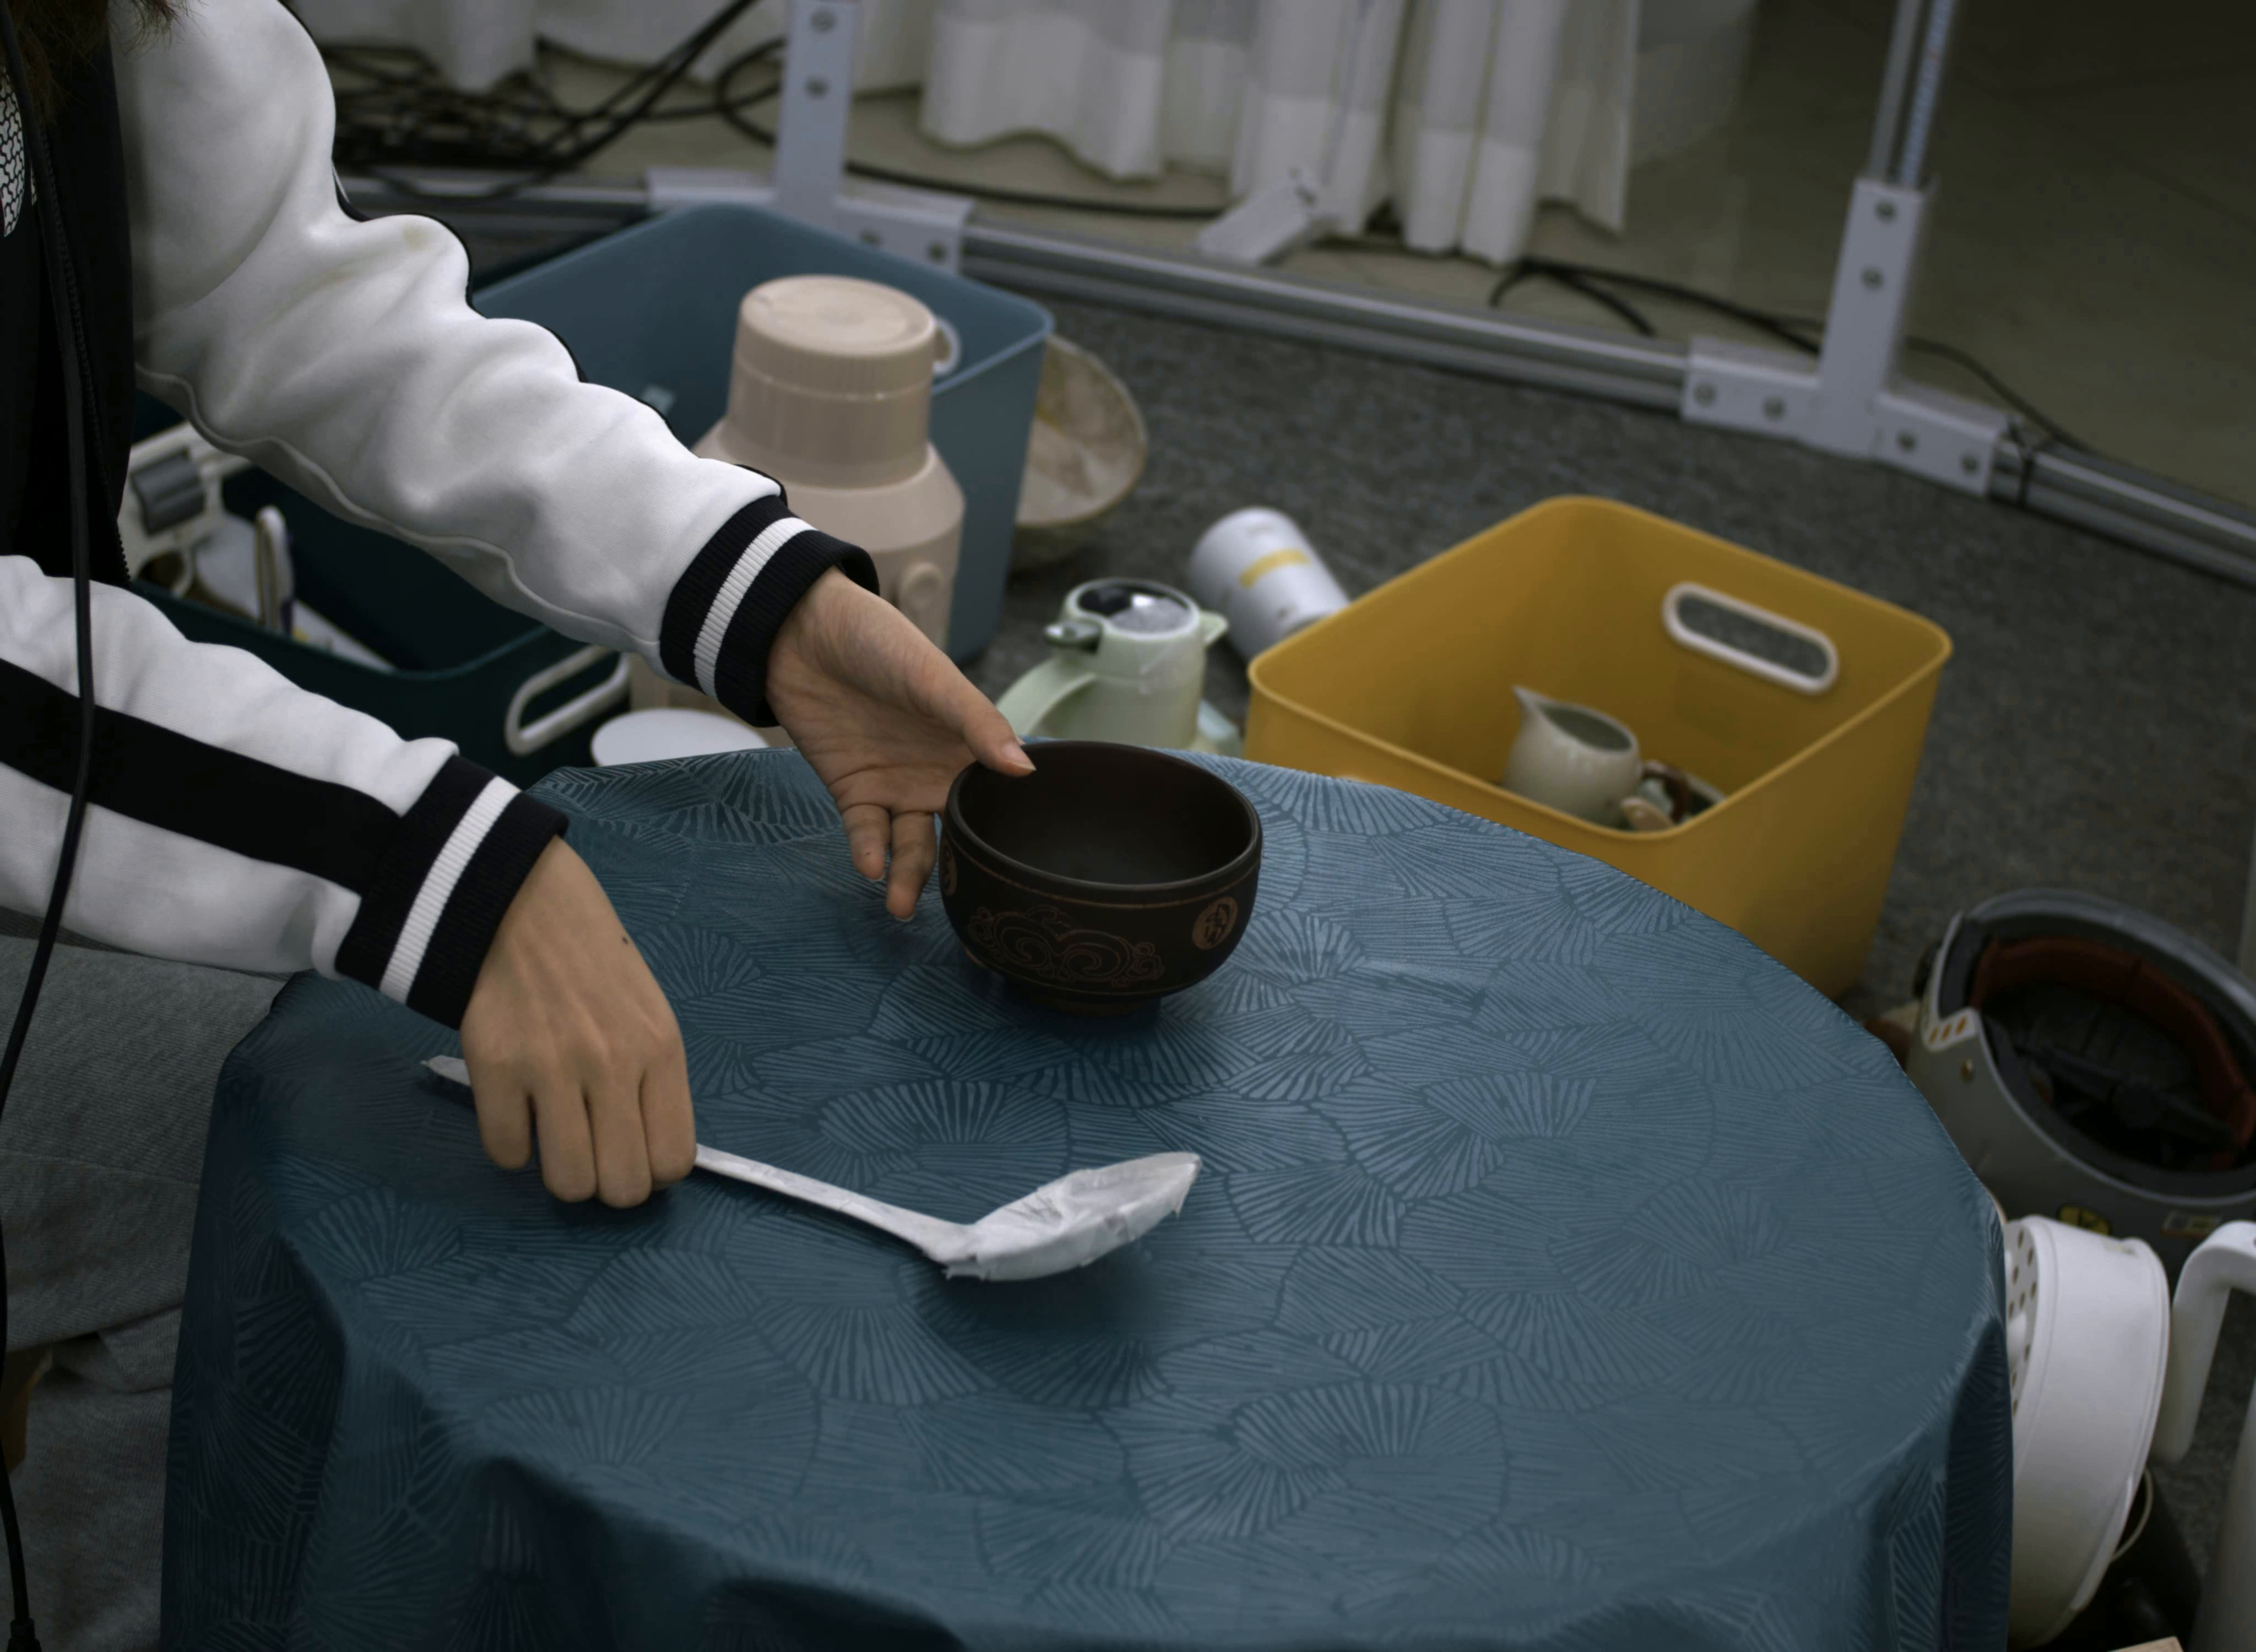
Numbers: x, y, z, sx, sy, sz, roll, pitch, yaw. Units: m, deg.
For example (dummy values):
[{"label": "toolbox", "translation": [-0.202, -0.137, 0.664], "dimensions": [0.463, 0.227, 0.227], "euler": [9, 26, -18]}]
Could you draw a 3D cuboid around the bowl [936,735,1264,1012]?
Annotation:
[{"label": "bowl", "translation": [-0.012, 0.023, 1.915], "dimensions": [0.117, 0.069, 0.119], "euler": [5, 26, -3]}]

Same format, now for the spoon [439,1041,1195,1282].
[{"label": "spoon", "translation": [-0.108, 0.094, 1.772], "dimensions": [0.278, 0.059, 0.100], "euler": [19, 20, 22]}]
